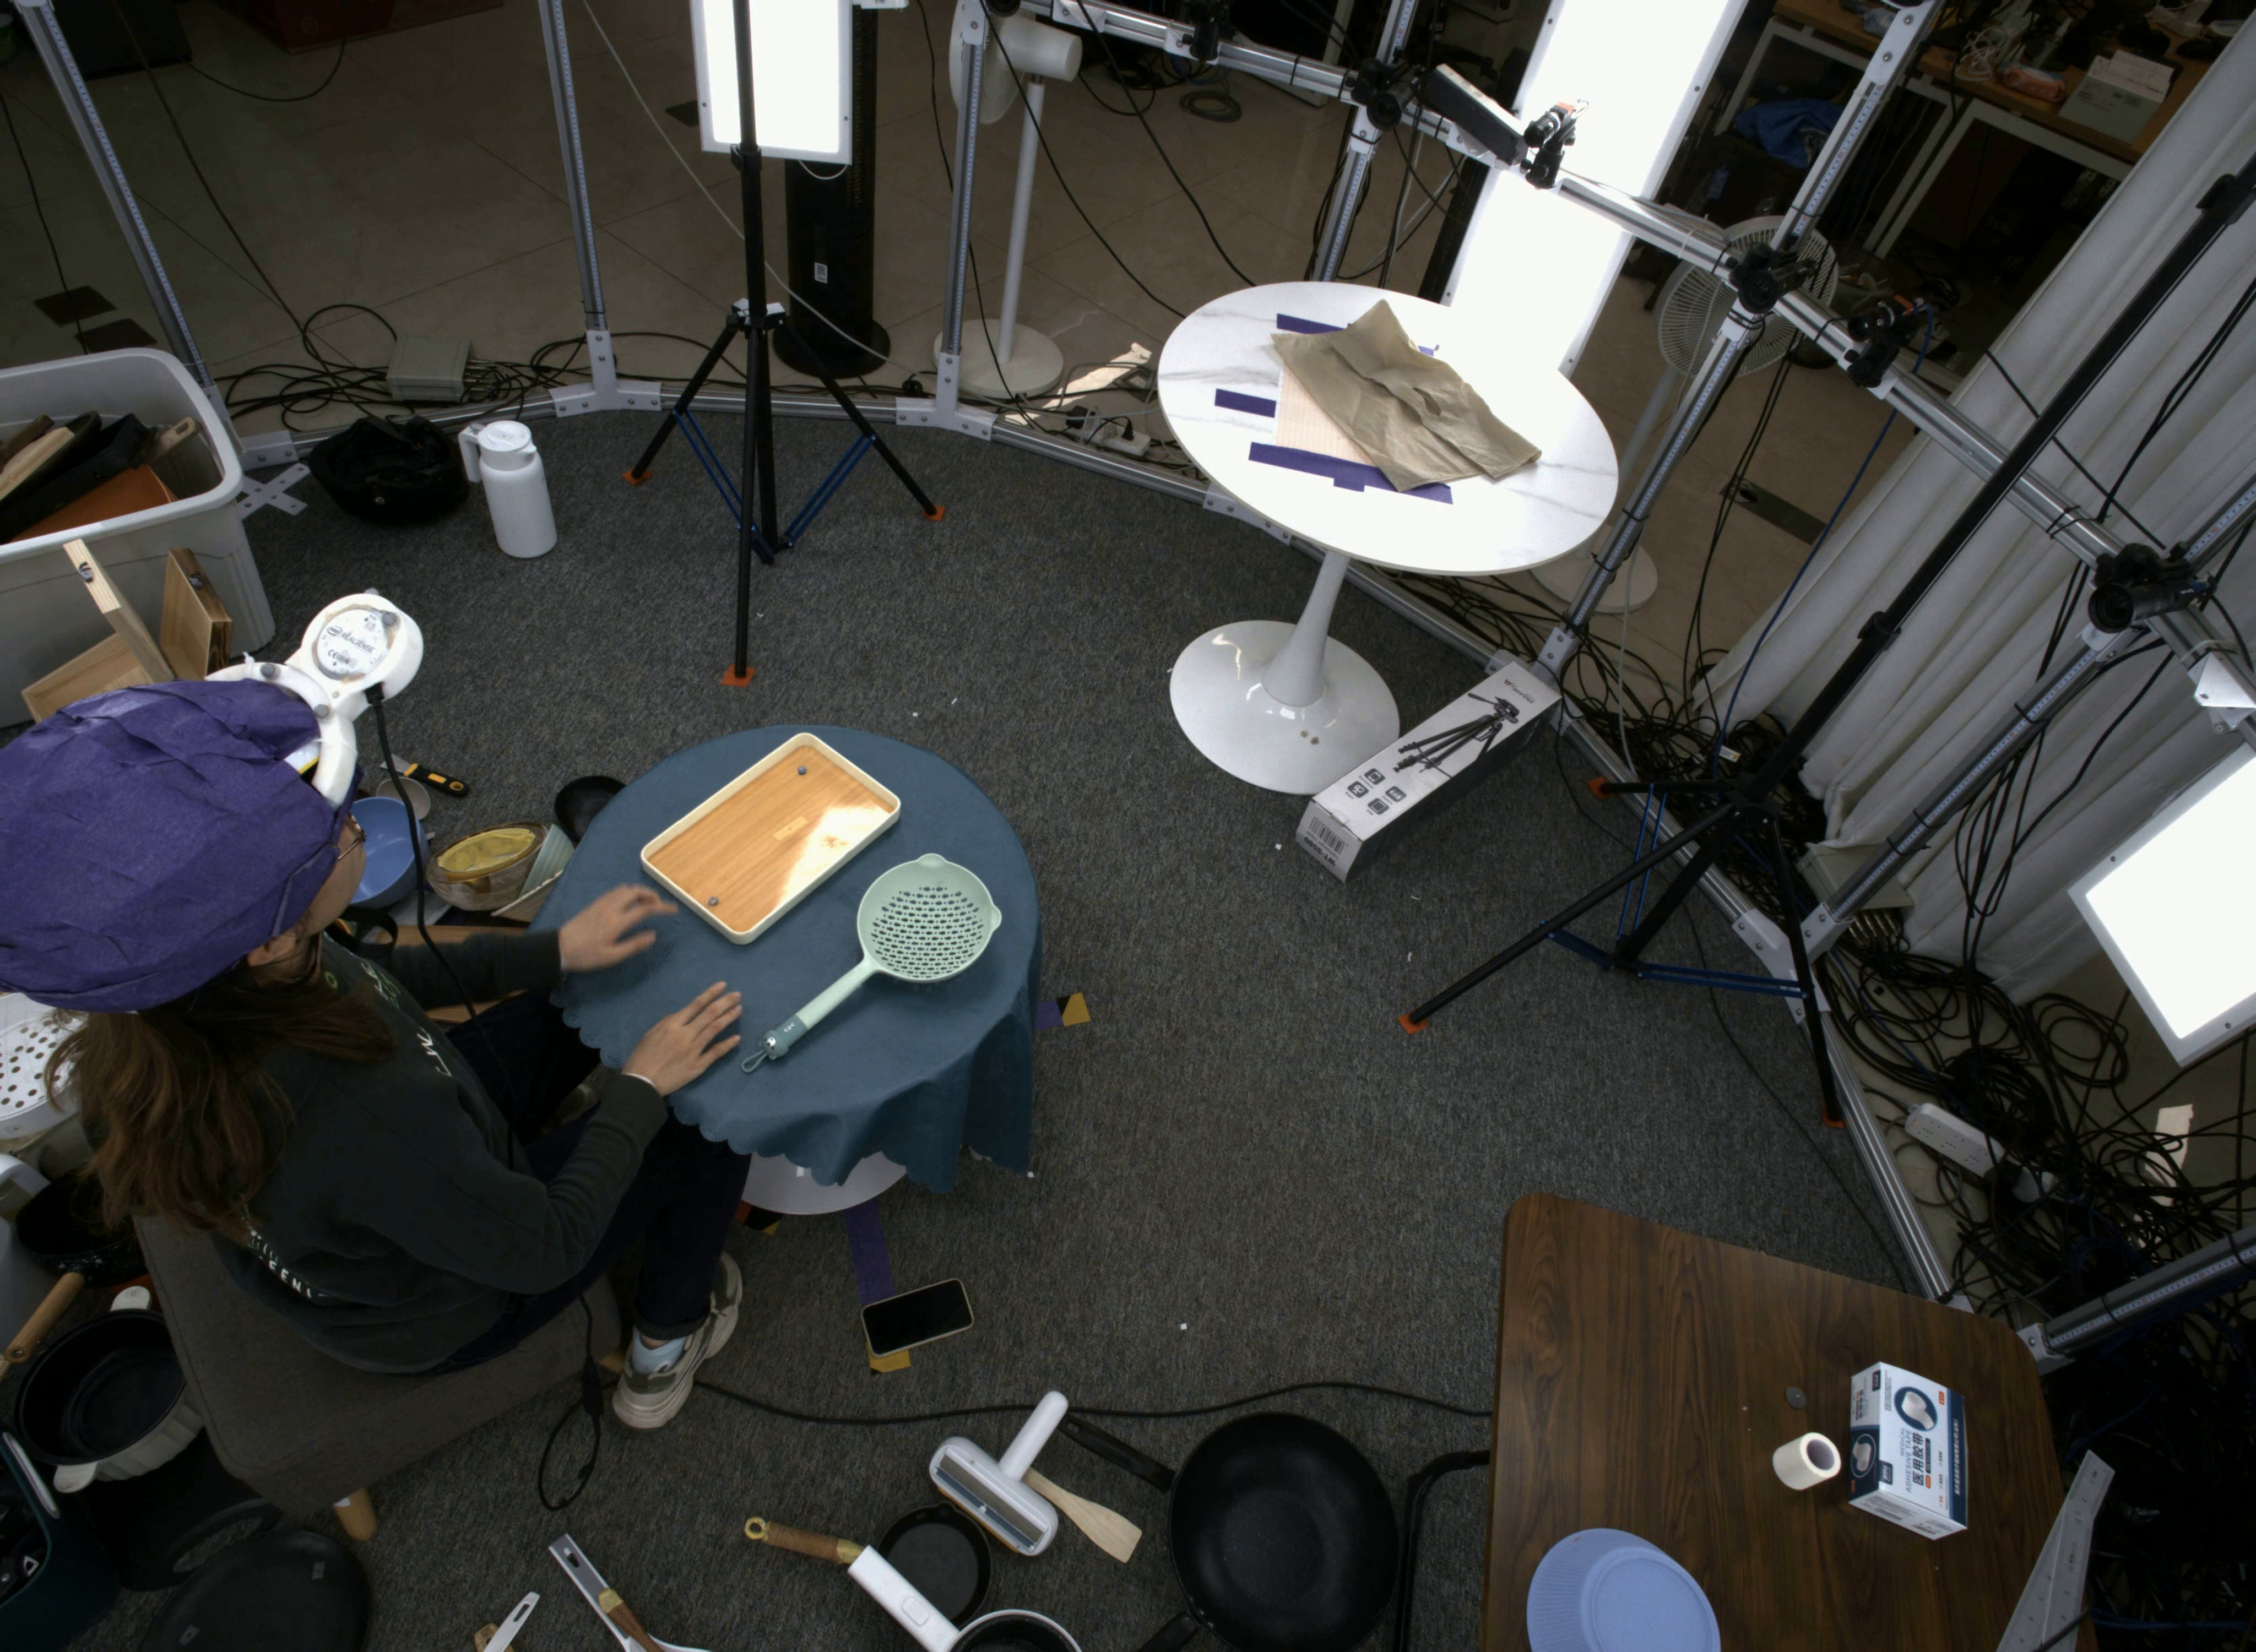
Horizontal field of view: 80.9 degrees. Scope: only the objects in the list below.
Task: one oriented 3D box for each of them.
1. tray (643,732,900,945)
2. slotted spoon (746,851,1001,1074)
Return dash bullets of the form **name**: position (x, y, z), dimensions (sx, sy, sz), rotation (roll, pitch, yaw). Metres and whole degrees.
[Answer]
- **tray**: position (-0.463, 0.008, 1.696), dimensions (0.188, 0.028, 0.300), rotation (36, 53, 13)
- **slotted spoon**: position (-0.319, 0.174, 1.585), dimensions (0.165, 0.077, 0.359), rotation (41, 55, 18)
